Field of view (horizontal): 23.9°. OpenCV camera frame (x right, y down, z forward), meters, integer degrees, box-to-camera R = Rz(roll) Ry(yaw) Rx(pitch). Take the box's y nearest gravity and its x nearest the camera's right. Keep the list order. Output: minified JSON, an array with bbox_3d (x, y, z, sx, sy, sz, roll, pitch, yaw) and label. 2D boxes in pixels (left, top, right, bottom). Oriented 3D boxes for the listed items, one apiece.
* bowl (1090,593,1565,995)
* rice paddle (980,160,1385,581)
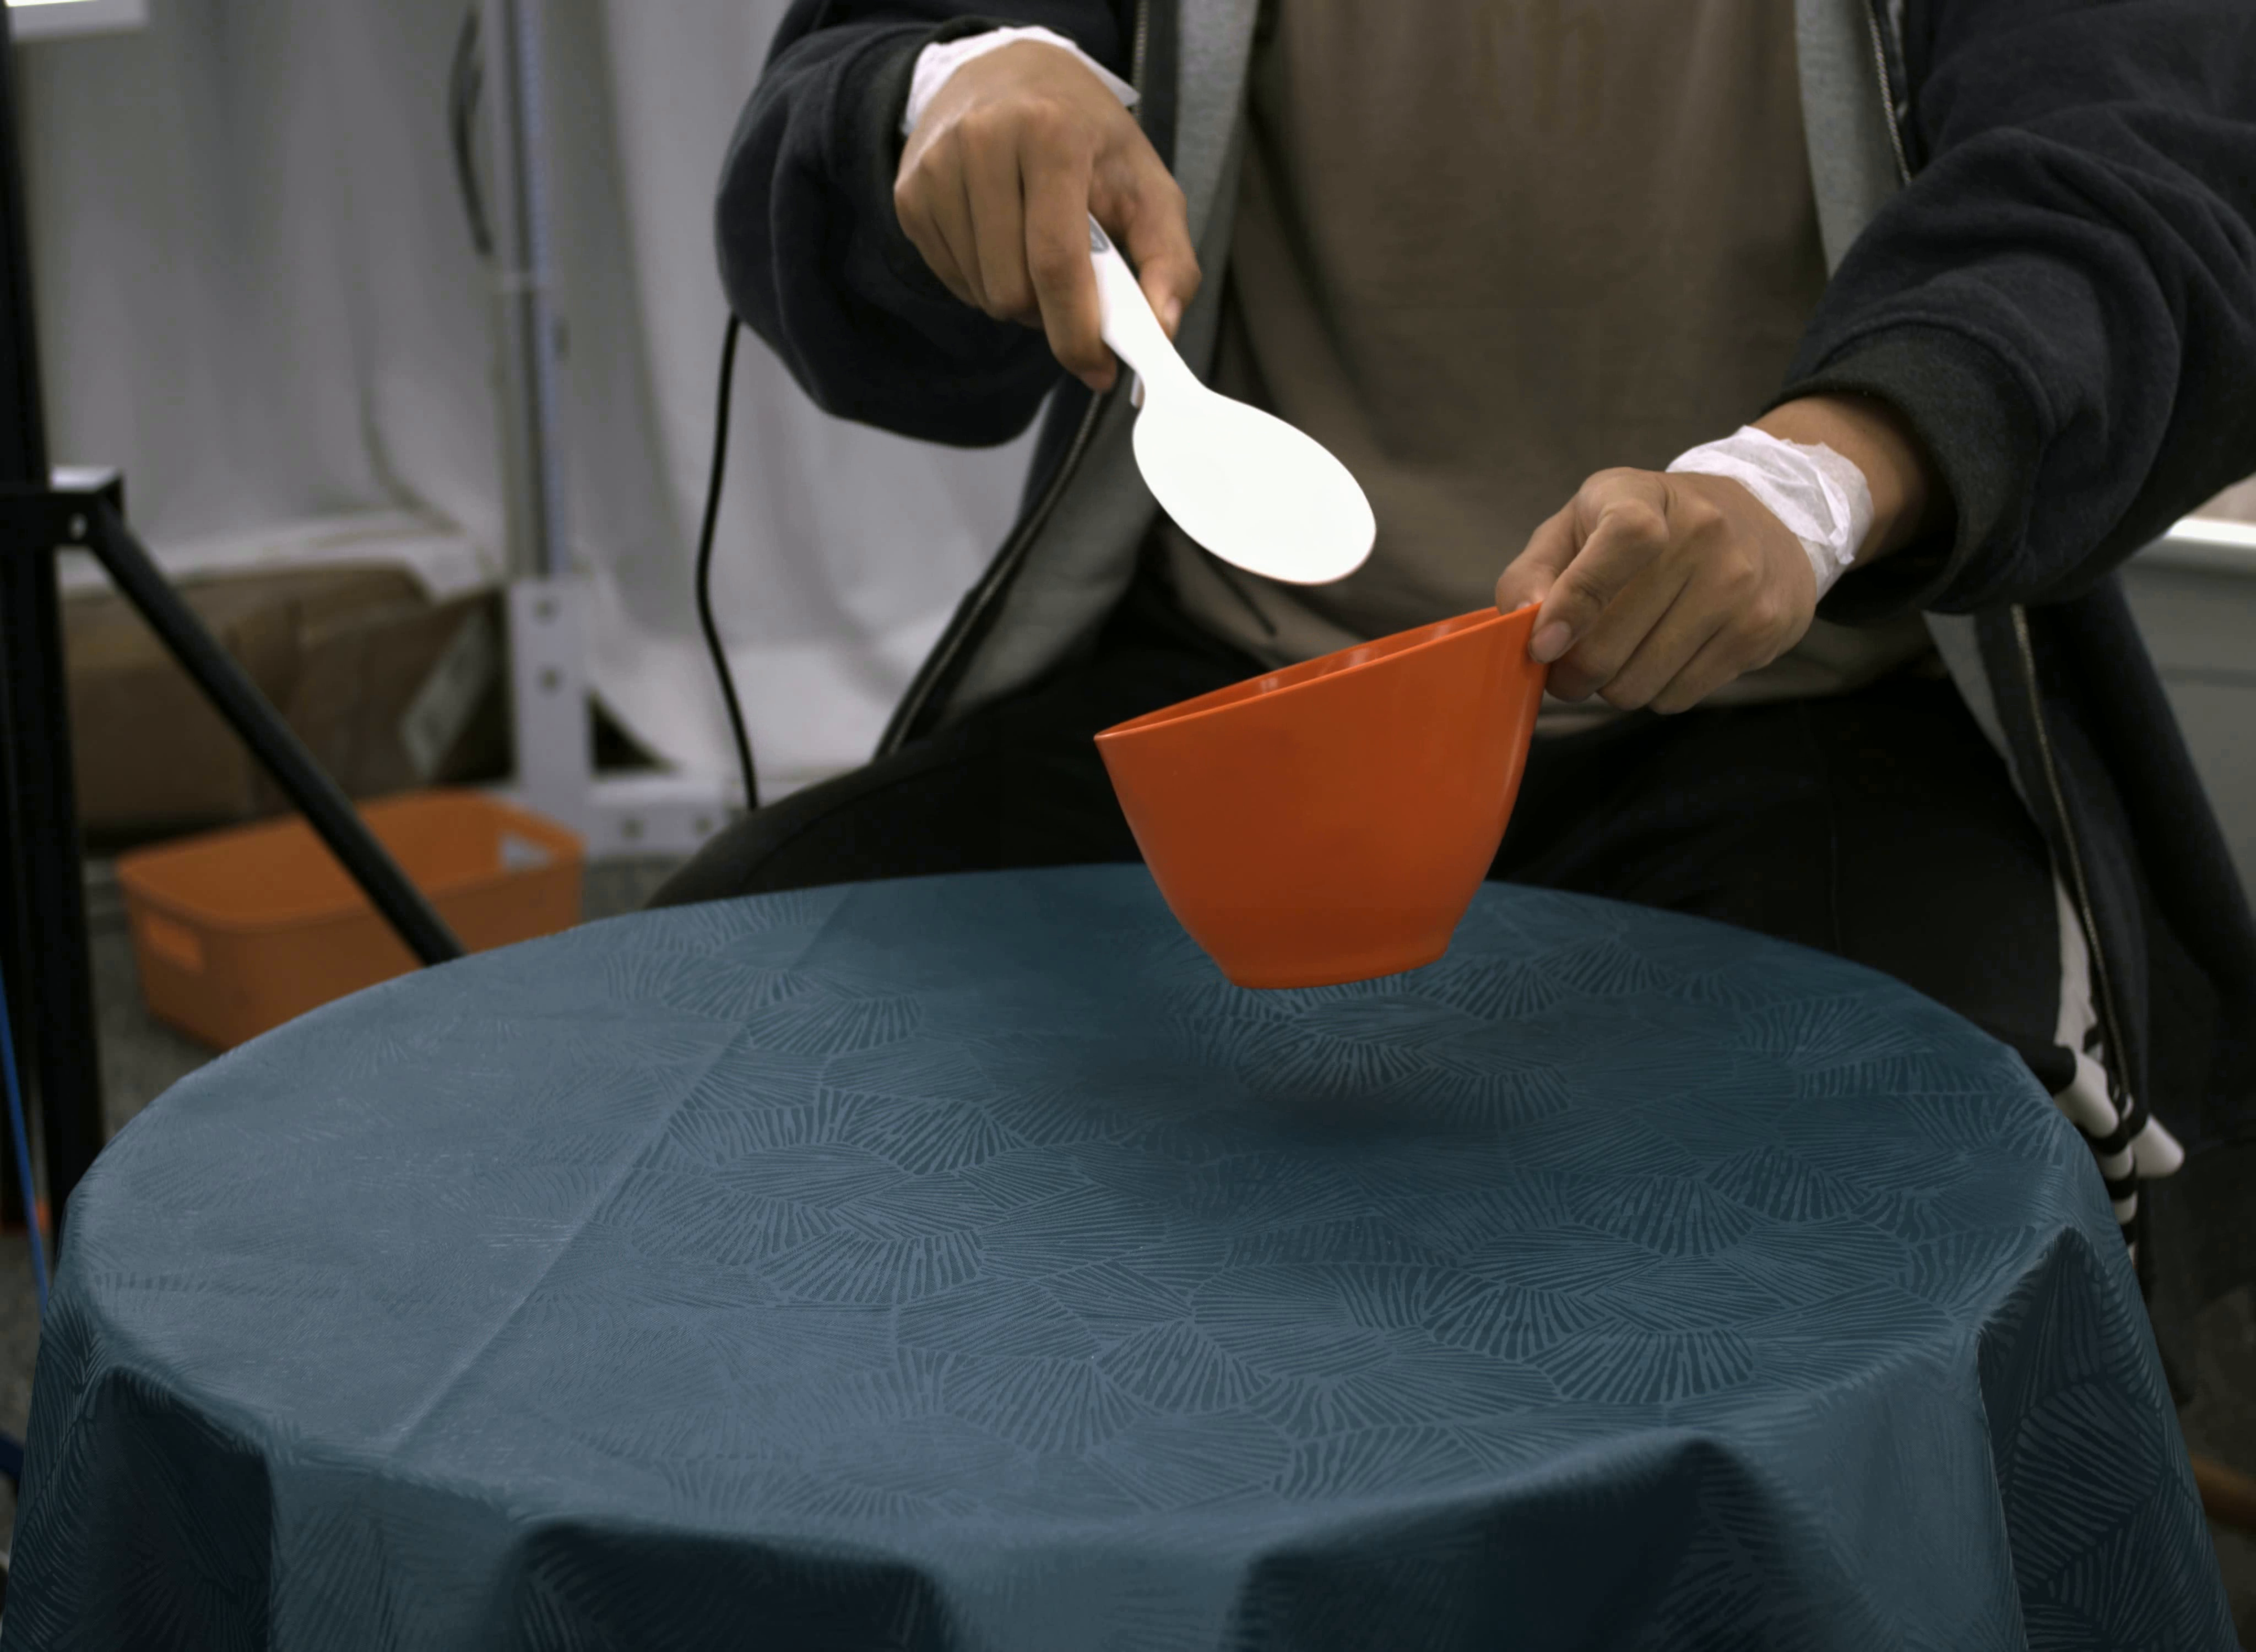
[{"bbox_3d":[0.065,-0.007,1.597,0.147,0.105,0.148,-9,8,0],"label":"bowl"},{"bbox_3d":[0.015,-0.140,1.665,0.067,0.029,0.209,-12,44,-27],"label":"rice paddle"}]
